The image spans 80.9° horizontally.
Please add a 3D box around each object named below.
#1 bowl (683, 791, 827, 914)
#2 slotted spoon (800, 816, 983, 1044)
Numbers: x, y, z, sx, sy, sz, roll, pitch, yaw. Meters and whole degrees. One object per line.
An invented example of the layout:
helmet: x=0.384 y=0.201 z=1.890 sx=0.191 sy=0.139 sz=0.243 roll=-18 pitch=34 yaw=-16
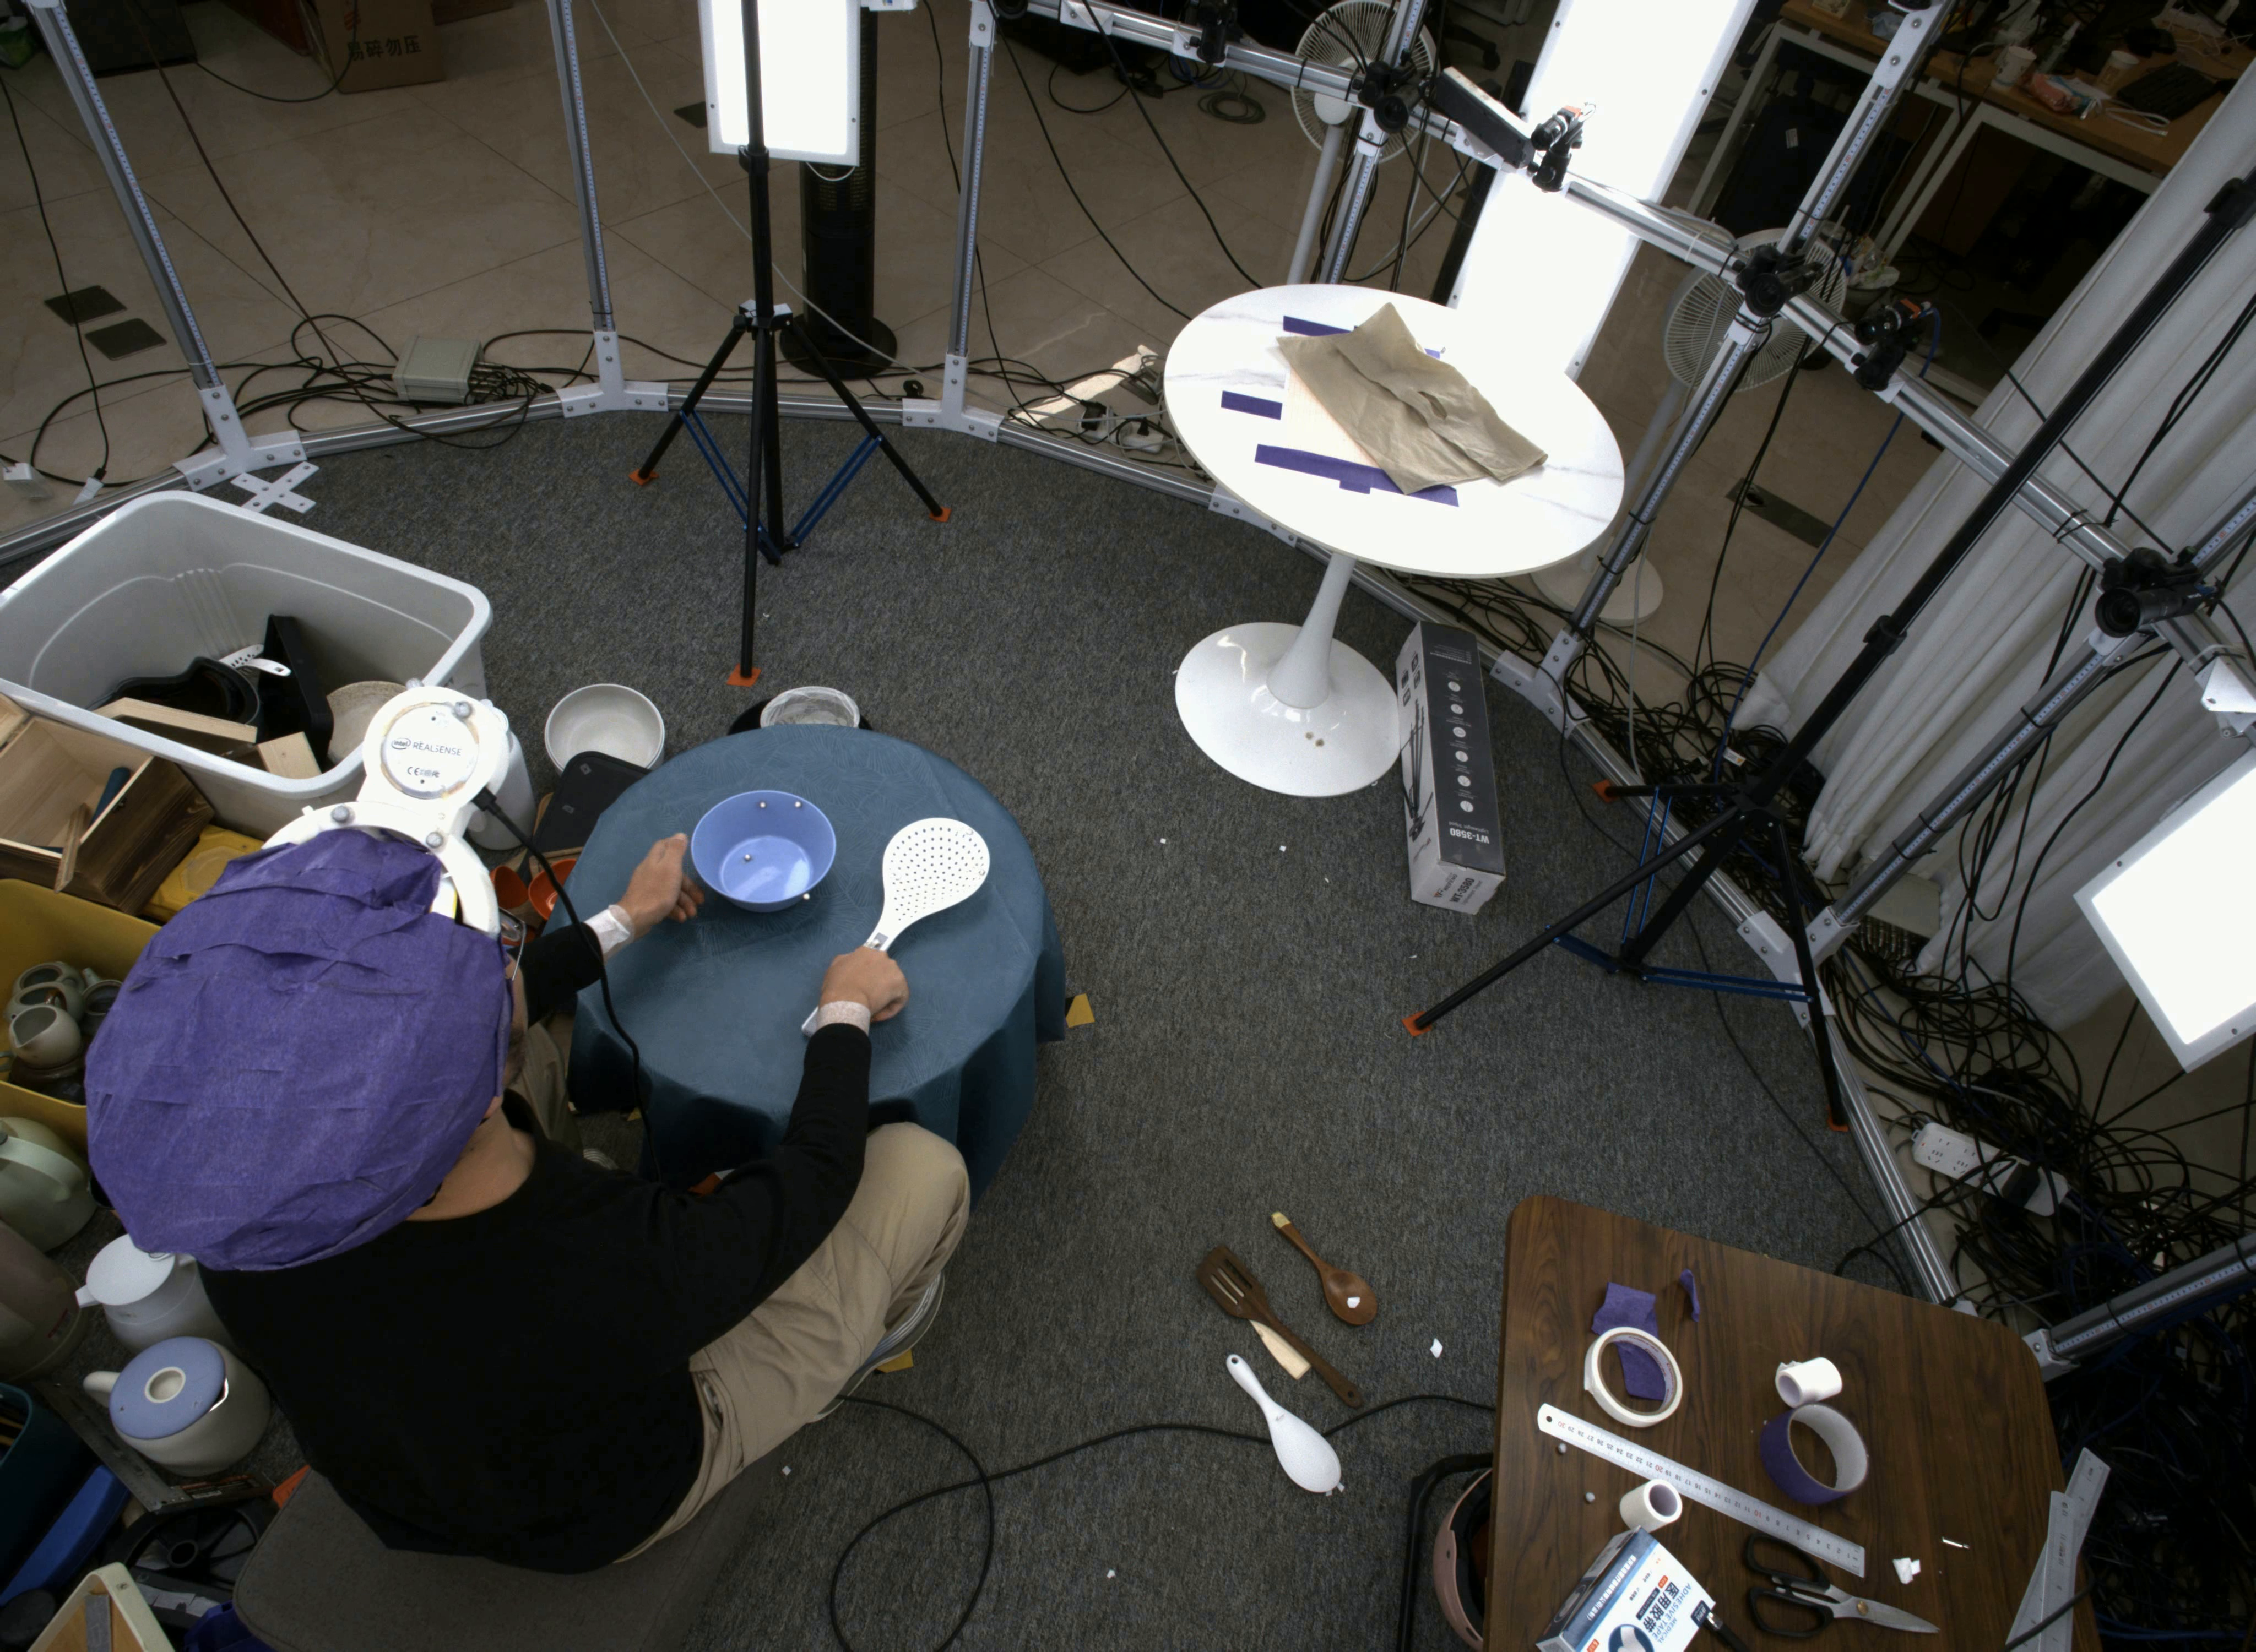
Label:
bowl: x=-0.467 y=0.042 z=1.630 sx=0.175 sy=0.072 sz=0.173 roll=7 pitch=53 yaw=-8
slotted spoon: x=-0.303 y=0.125 z=1.628 sx=0.134 sy=0.047 sz=0.348 roll=26 pitch=53 yaw=8
